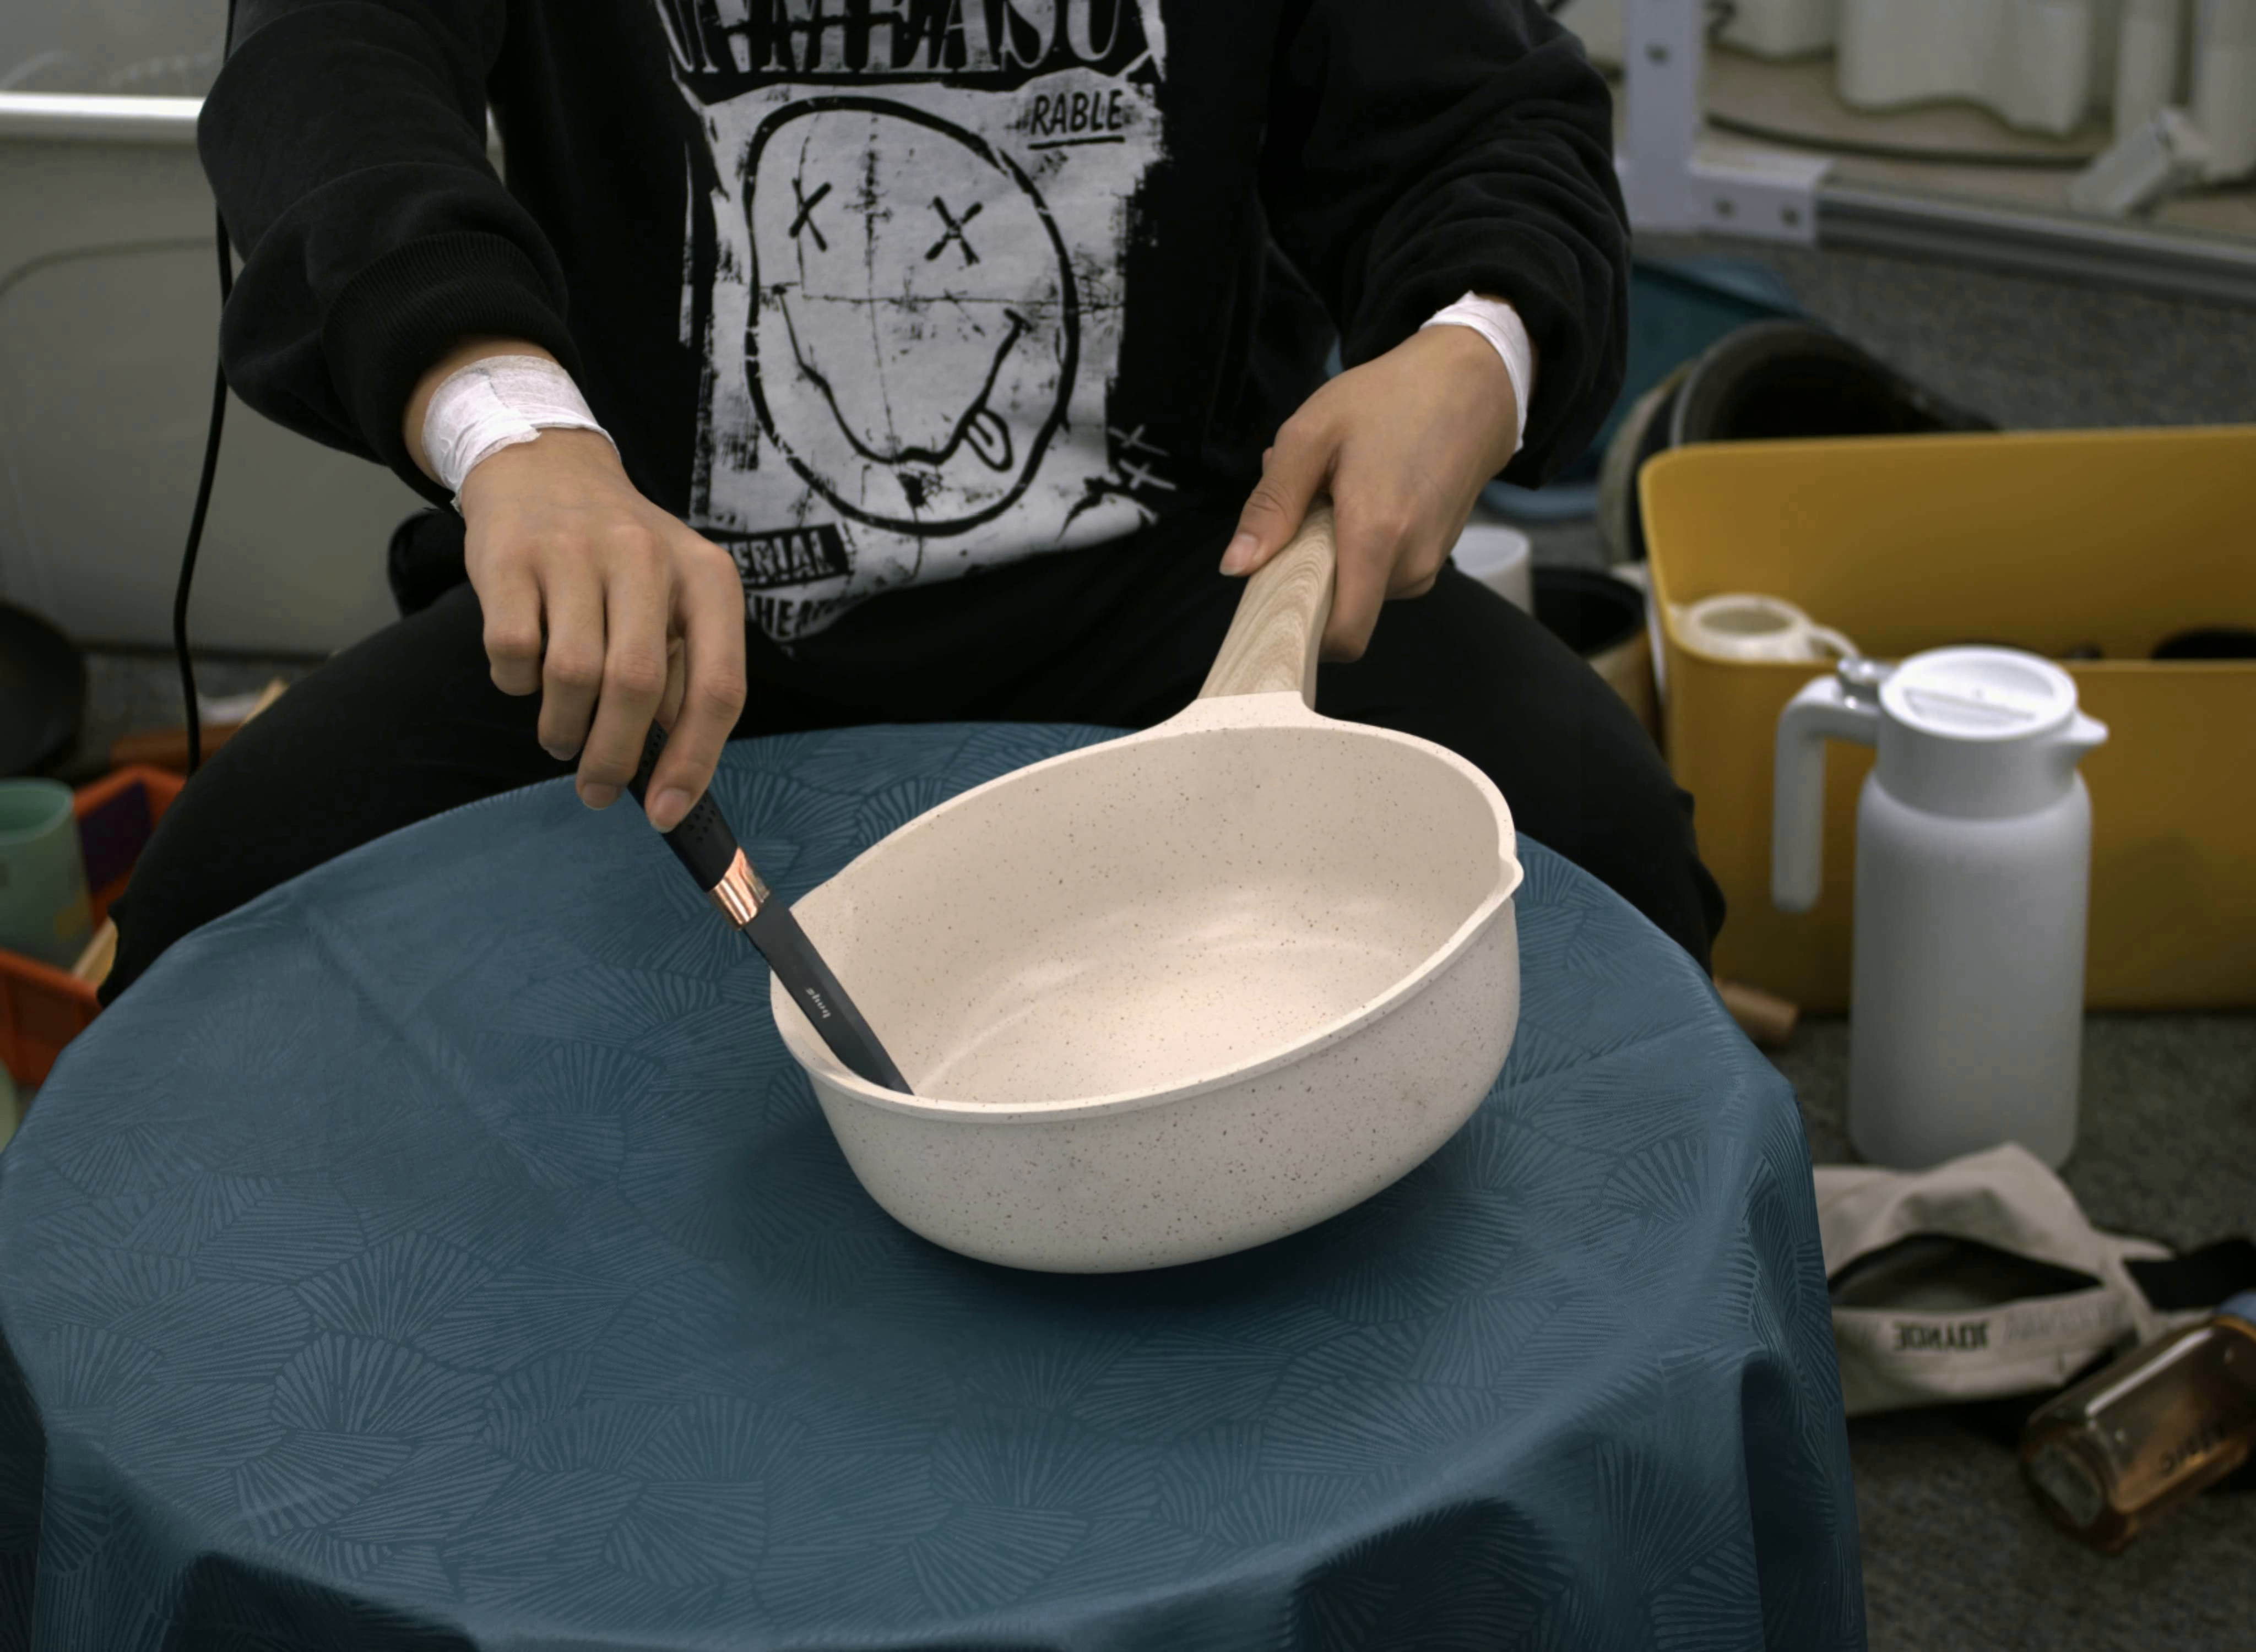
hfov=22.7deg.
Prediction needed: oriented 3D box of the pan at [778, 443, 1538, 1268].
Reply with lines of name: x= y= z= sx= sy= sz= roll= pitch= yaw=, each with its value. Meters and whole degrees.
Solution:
pan: x=0.039 y=0.007 z=1.931 sx=0.261 sy=0.101 sz=0.443 roll=-6 pitch=27 yaw=20

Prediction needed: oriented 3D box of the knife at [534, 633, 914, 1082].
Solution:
knife: x=-0.116 y=0.029 z=1.791 sx=0.017 sy=0.225 sz=0.026 roll=-36 pitch=2 yaw=31
